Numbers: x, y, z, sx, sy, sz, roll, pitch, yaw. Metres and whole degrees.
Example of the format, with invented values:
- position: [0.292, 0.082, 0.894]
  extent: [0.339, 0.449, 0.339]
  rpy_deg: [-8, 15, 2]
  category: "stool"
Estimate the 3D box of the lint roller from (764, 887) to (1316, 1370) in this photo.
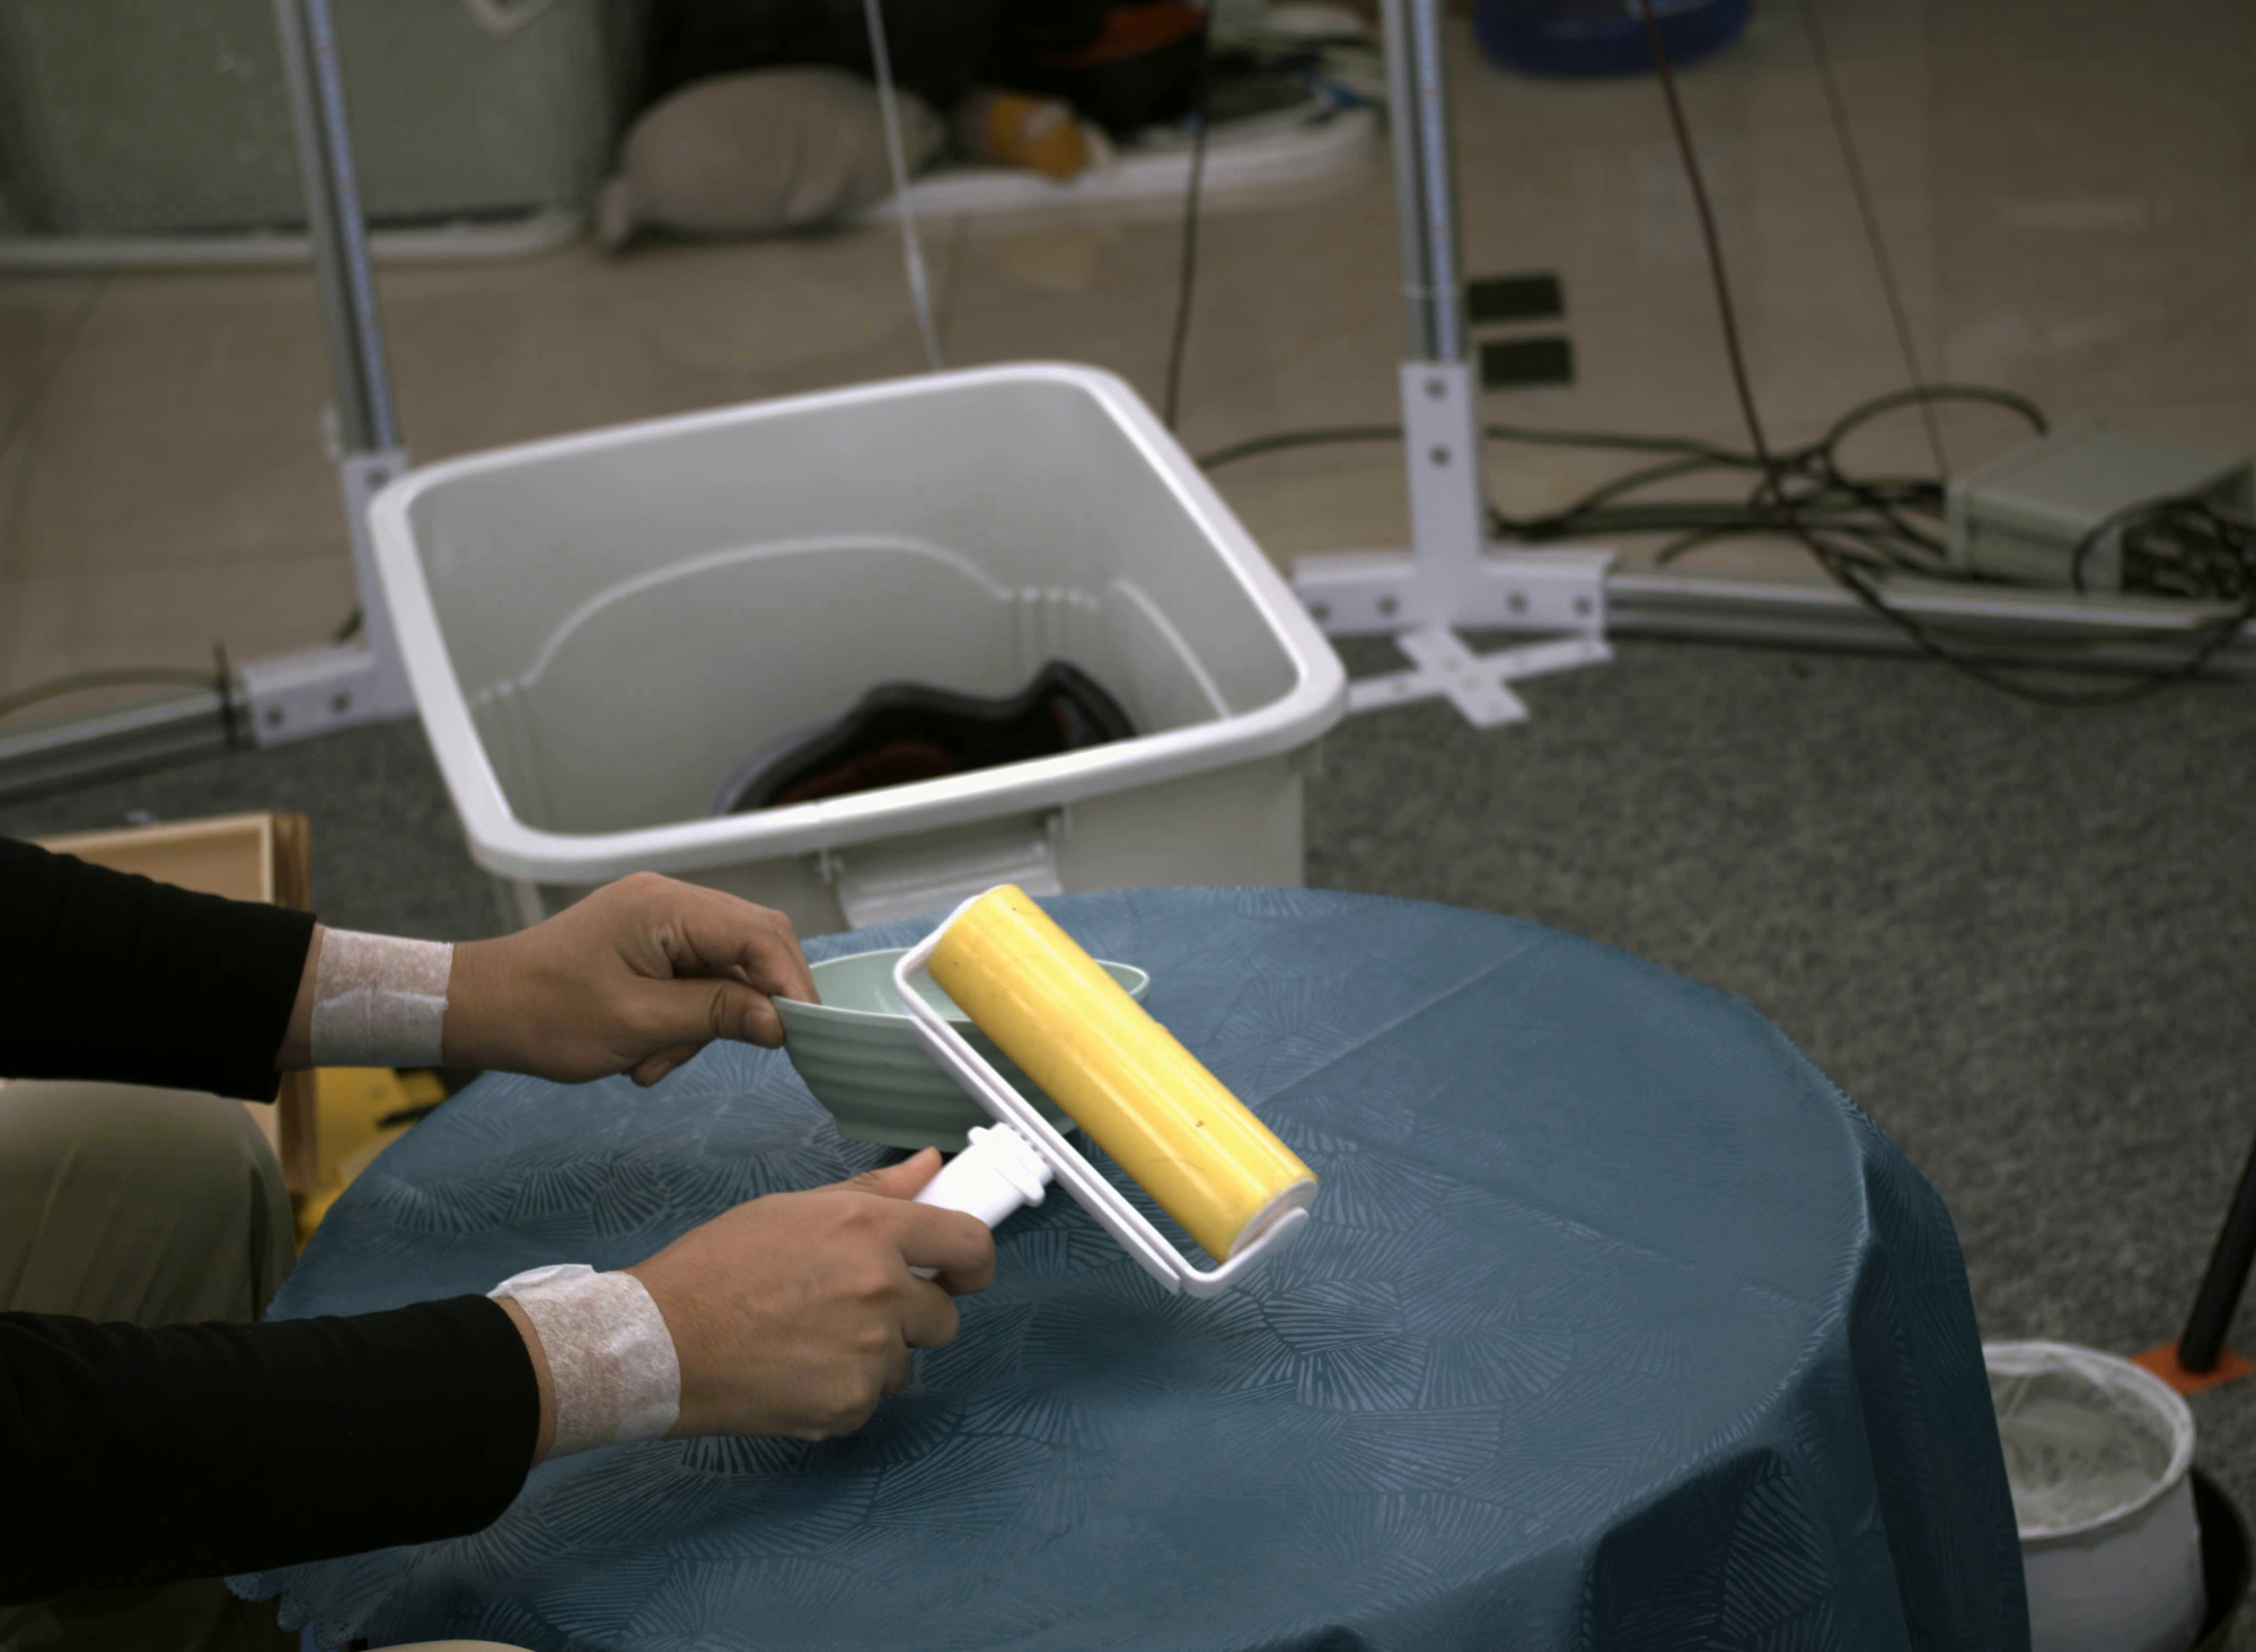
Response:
- position: [-0.054, 0.126, 2.018]
  extent: [0.173, 0.052, 0.190]
  rpy_deg: [42, 55, 19]
  category: "lint roller"

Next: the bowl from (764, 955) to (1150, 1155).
- position: [-0.065, 0.089, 2.177]
  extent: [0.151, 0.059, 0.150]
  rpy_deg: [1, 8, 0]
  category: "bowl"
